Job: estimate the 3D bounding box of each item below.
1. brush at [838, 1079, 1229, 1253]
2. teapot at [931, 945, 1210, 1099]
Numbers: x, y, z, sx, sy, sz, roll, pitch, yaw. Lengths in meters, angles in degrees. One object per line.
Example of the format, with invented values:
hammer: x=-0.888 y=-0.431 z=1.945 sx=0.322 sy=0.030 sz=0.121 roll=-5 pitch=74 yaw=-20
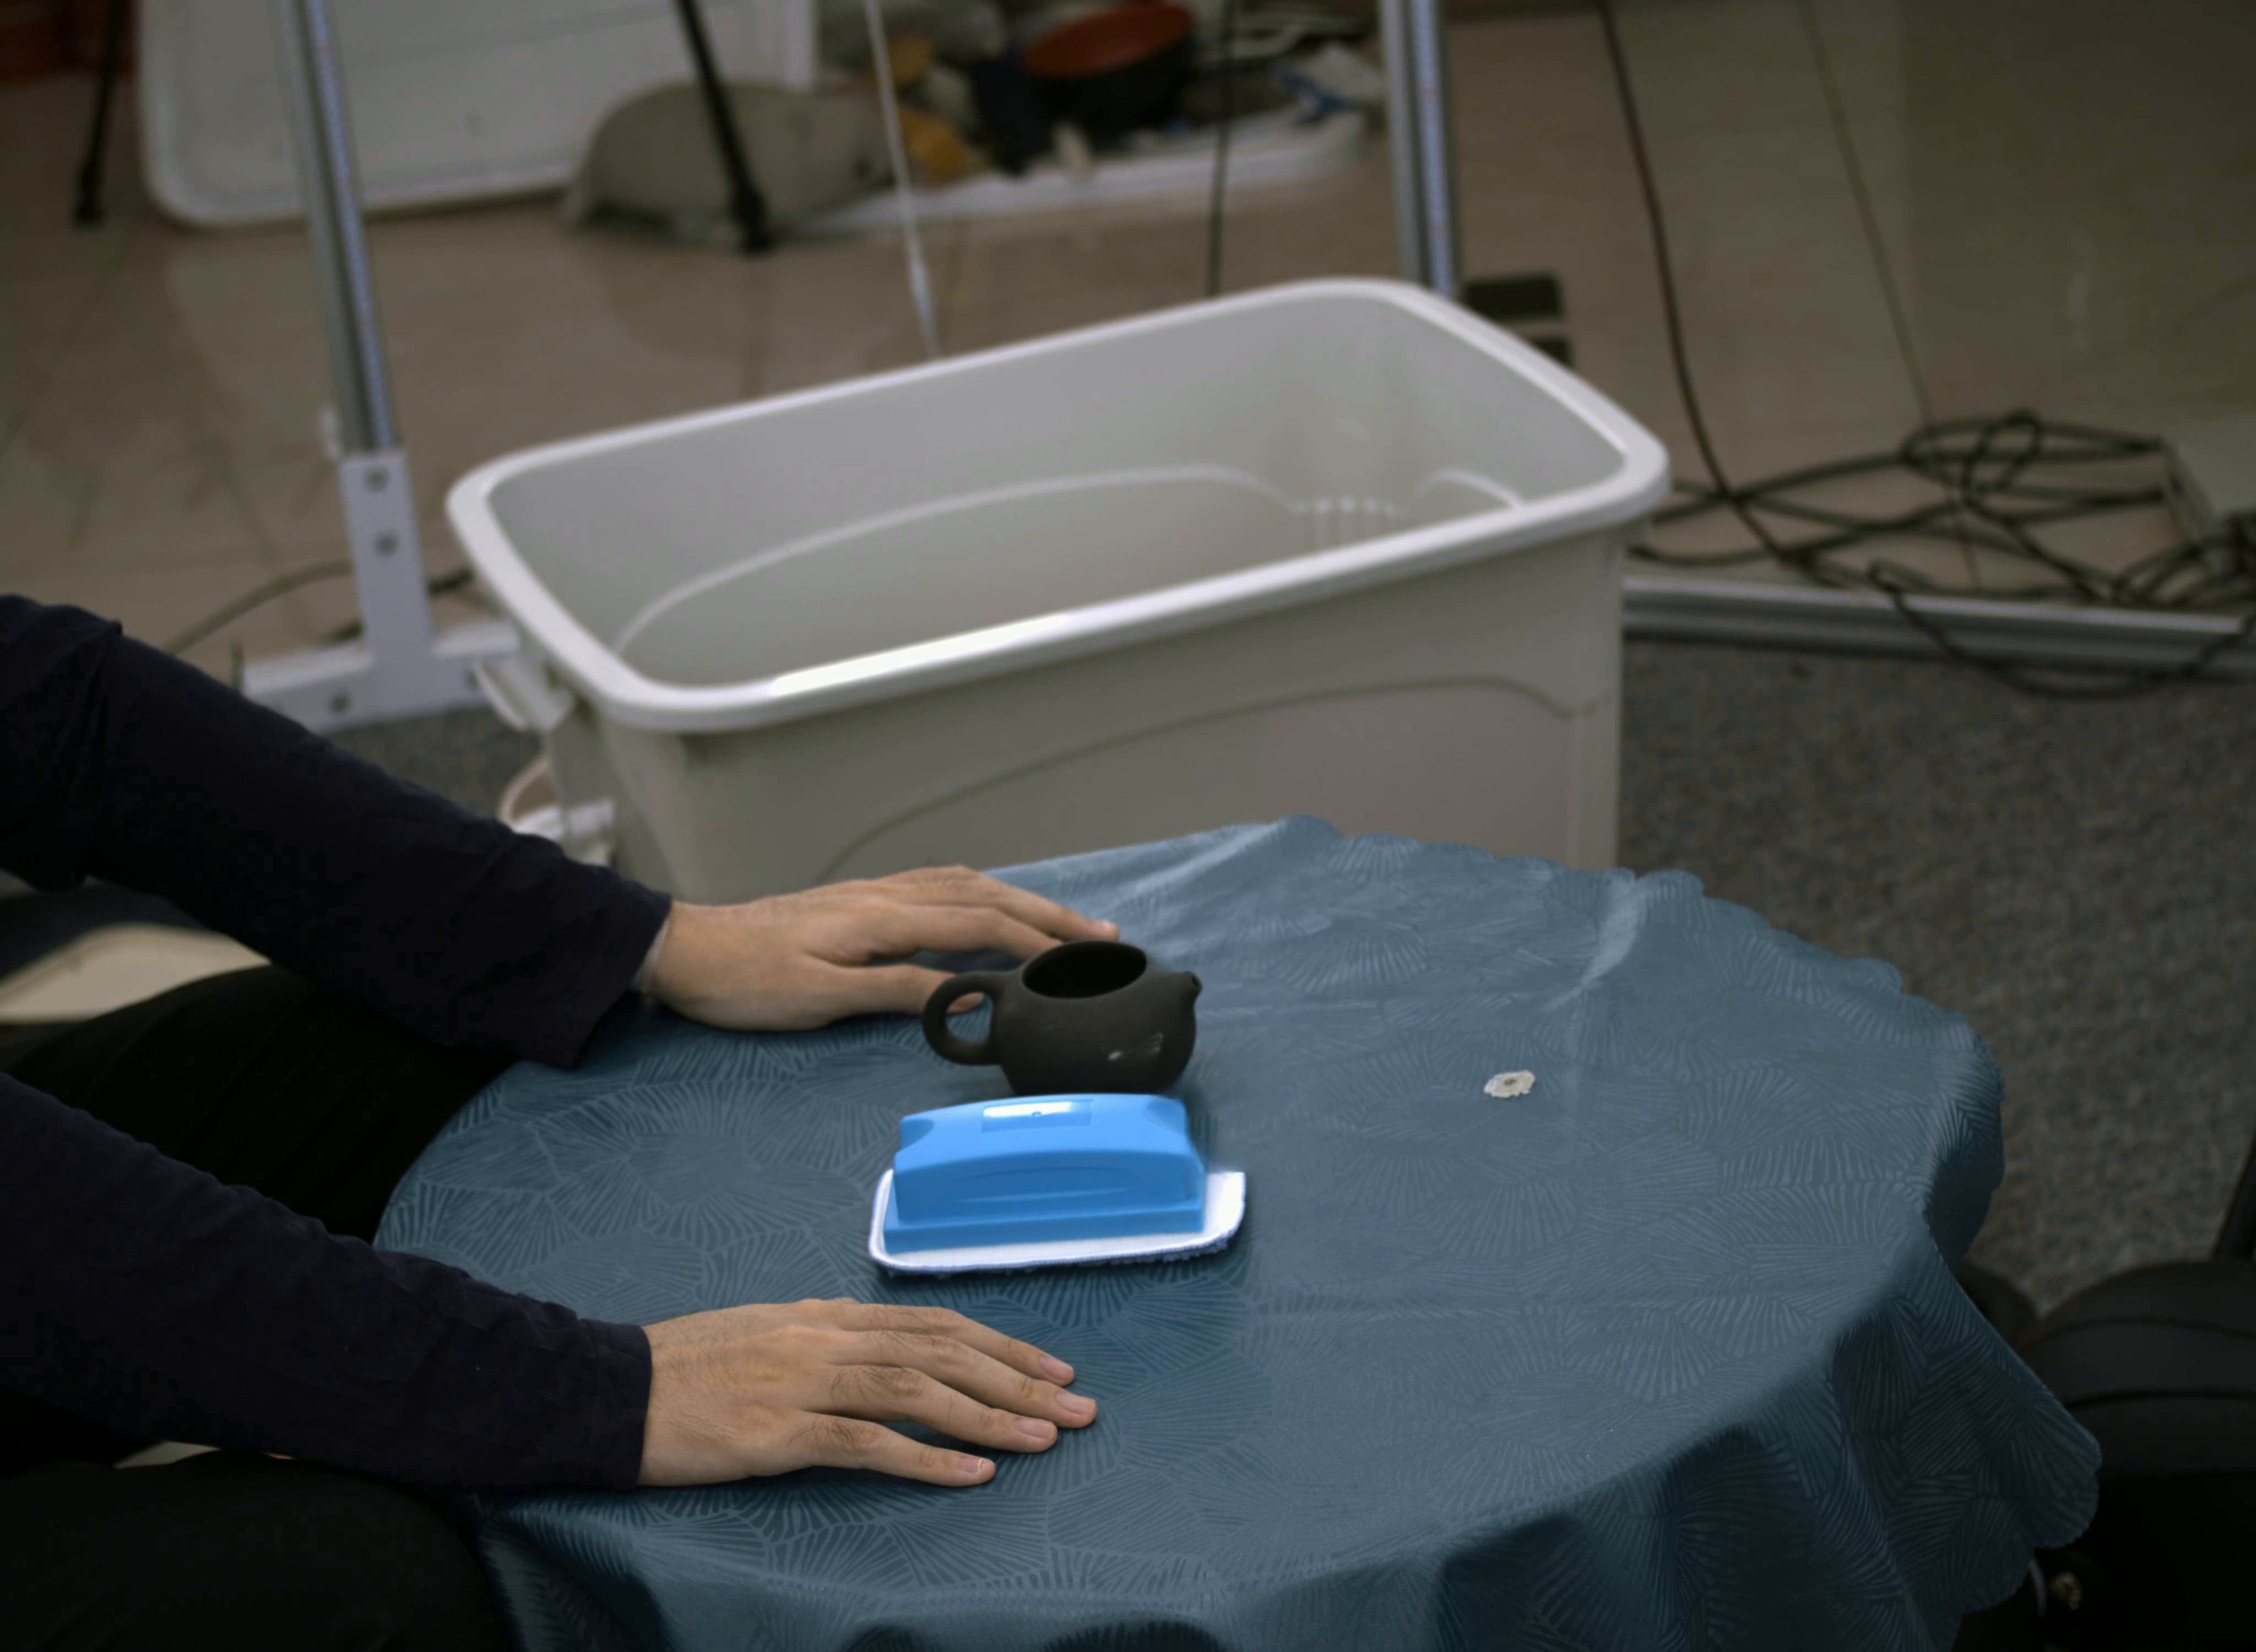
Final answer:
brush: x=-0.036 y=0.125 z=2.114 sx=0.144 sy=0.057 sz=0.083 roll=-1 pitch=22 yaw=6
teapot: x=-0.023 y=0.079 z=2.224 sx=0.114 sy=0.054 sz=0.082 roll=4 pitch=23 yaw=16
